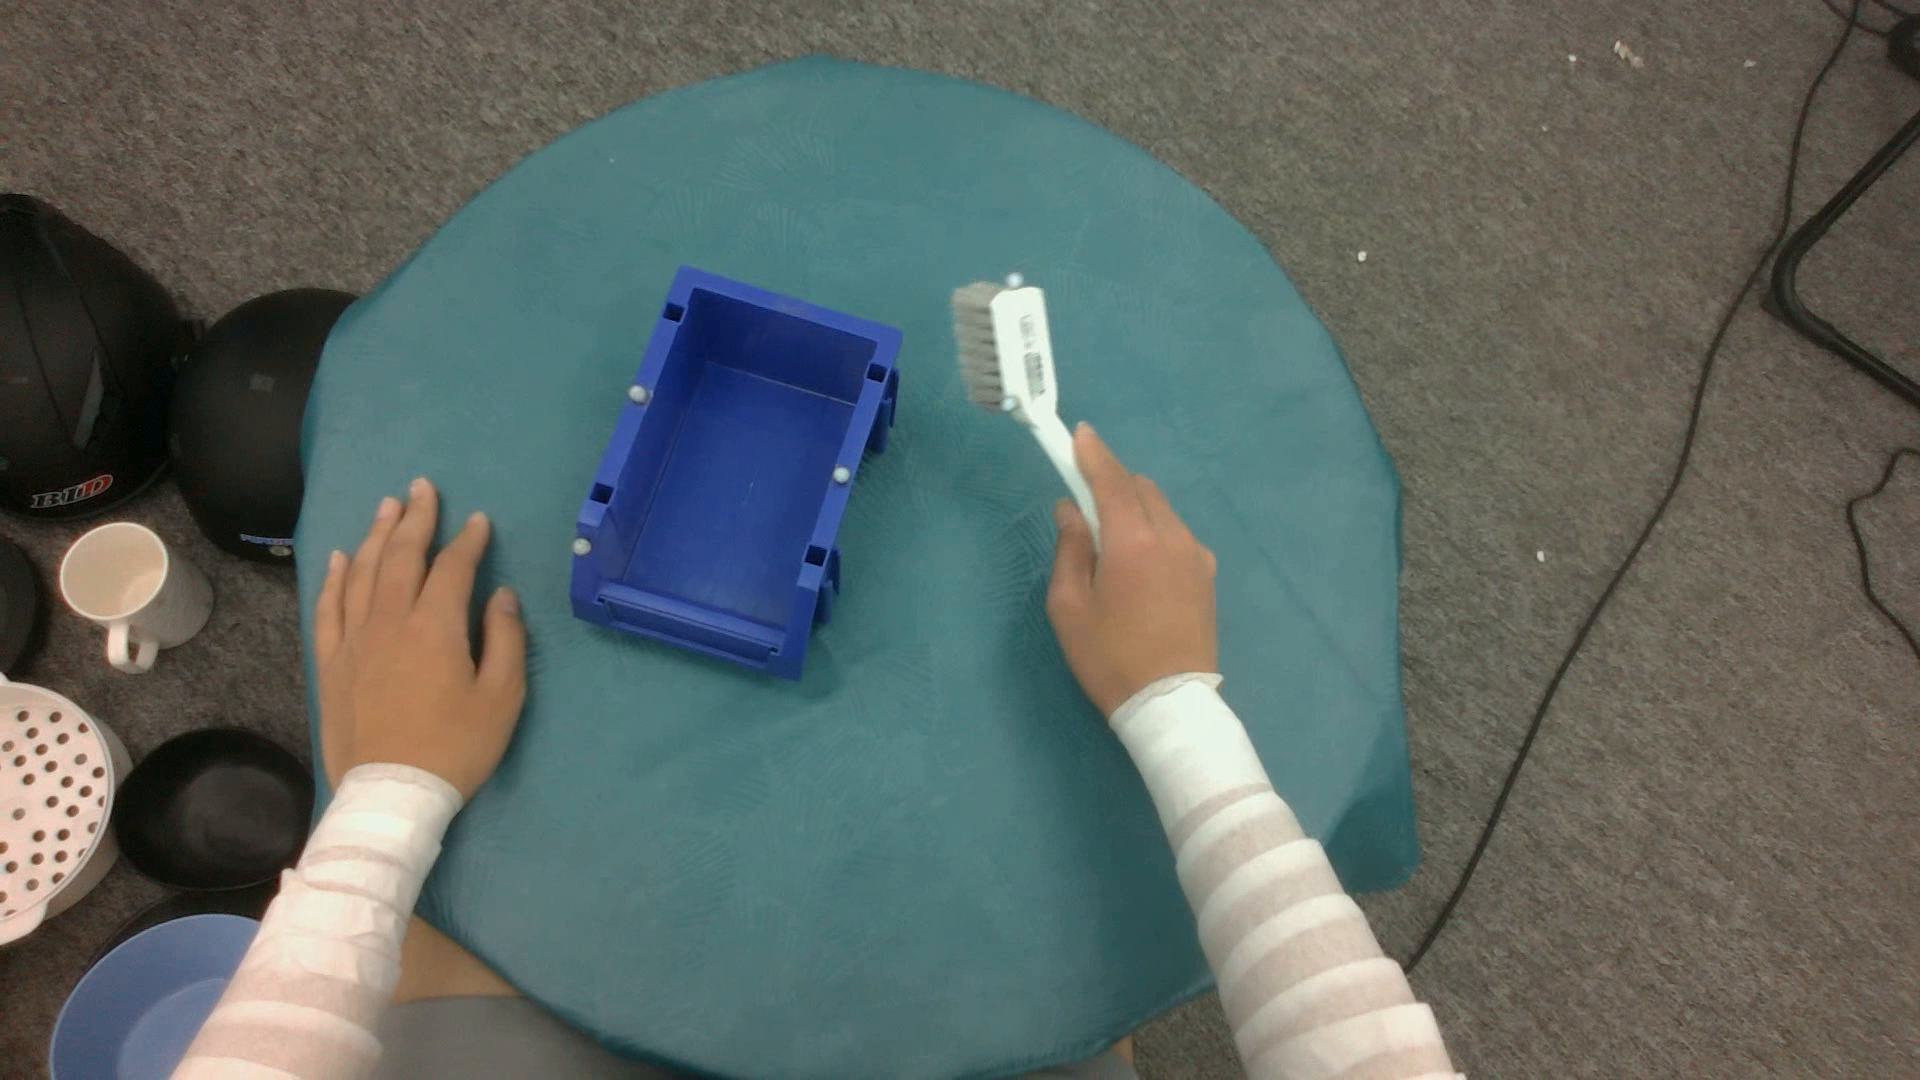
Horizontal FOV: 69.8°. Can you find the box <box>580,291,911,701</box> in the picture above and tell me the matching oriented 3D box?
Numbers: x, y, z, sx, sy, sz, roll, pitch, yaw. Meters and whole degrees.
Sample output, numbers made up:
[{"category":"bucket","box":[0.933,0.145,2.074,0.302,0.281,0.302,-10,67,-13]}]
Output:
[{"category":"box","box":[-0.109,-0.020,0.725,0.124,0.081,0.180,17,67,0]}]

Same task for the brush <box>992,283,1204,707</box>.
[{"category":"brush","box":[0.070,-0.021,0.732,0.034,0.050,0.243,-34,107,-53]}]
